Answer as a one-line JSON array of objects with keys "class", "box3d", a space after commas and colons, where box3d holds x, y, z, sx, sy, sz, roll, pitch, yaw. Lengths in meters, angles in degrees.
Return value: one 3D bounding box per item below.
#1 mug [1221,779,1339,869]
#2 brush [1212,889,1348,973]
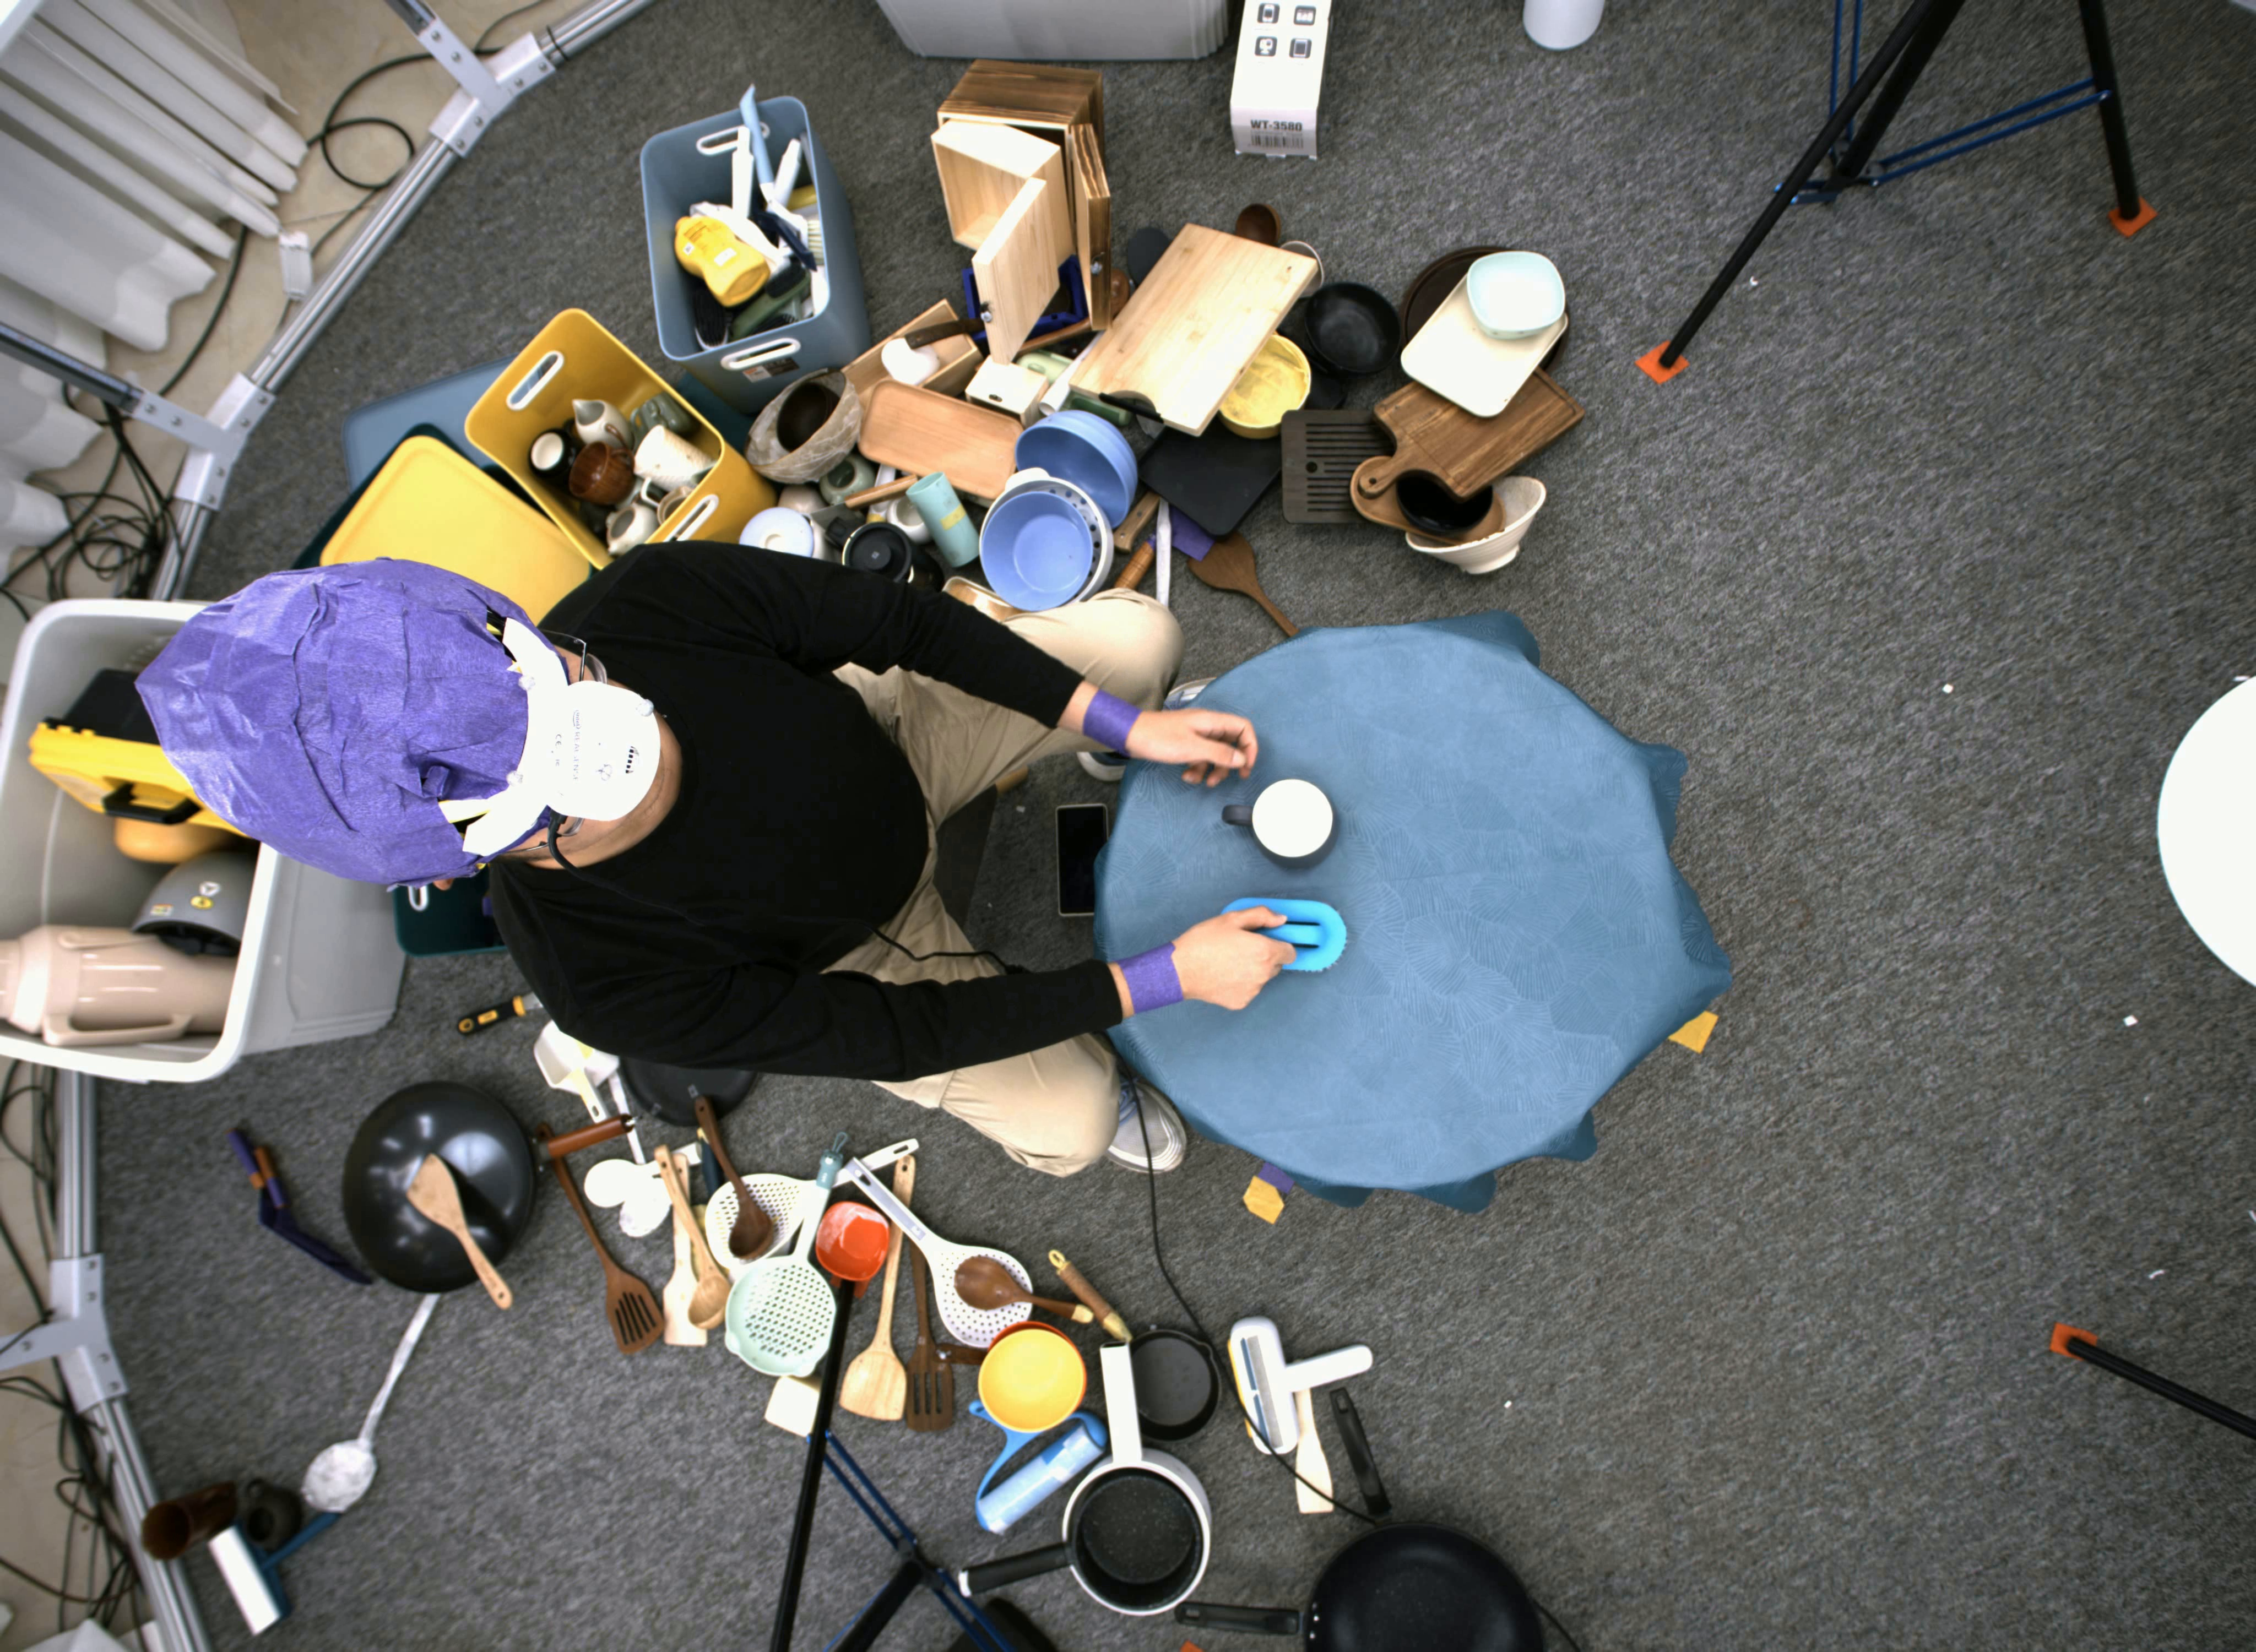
[{"class": "mug", "box3d": [0.157, -0.007, 1.436, 0.123, 0.090, 0.093, 10, 86, 9]}, {"class": "brush", "box3d": [0.157, 0.108, 1.444, 0.142, 0.063, 0.084, 4, 91, 11]}]
